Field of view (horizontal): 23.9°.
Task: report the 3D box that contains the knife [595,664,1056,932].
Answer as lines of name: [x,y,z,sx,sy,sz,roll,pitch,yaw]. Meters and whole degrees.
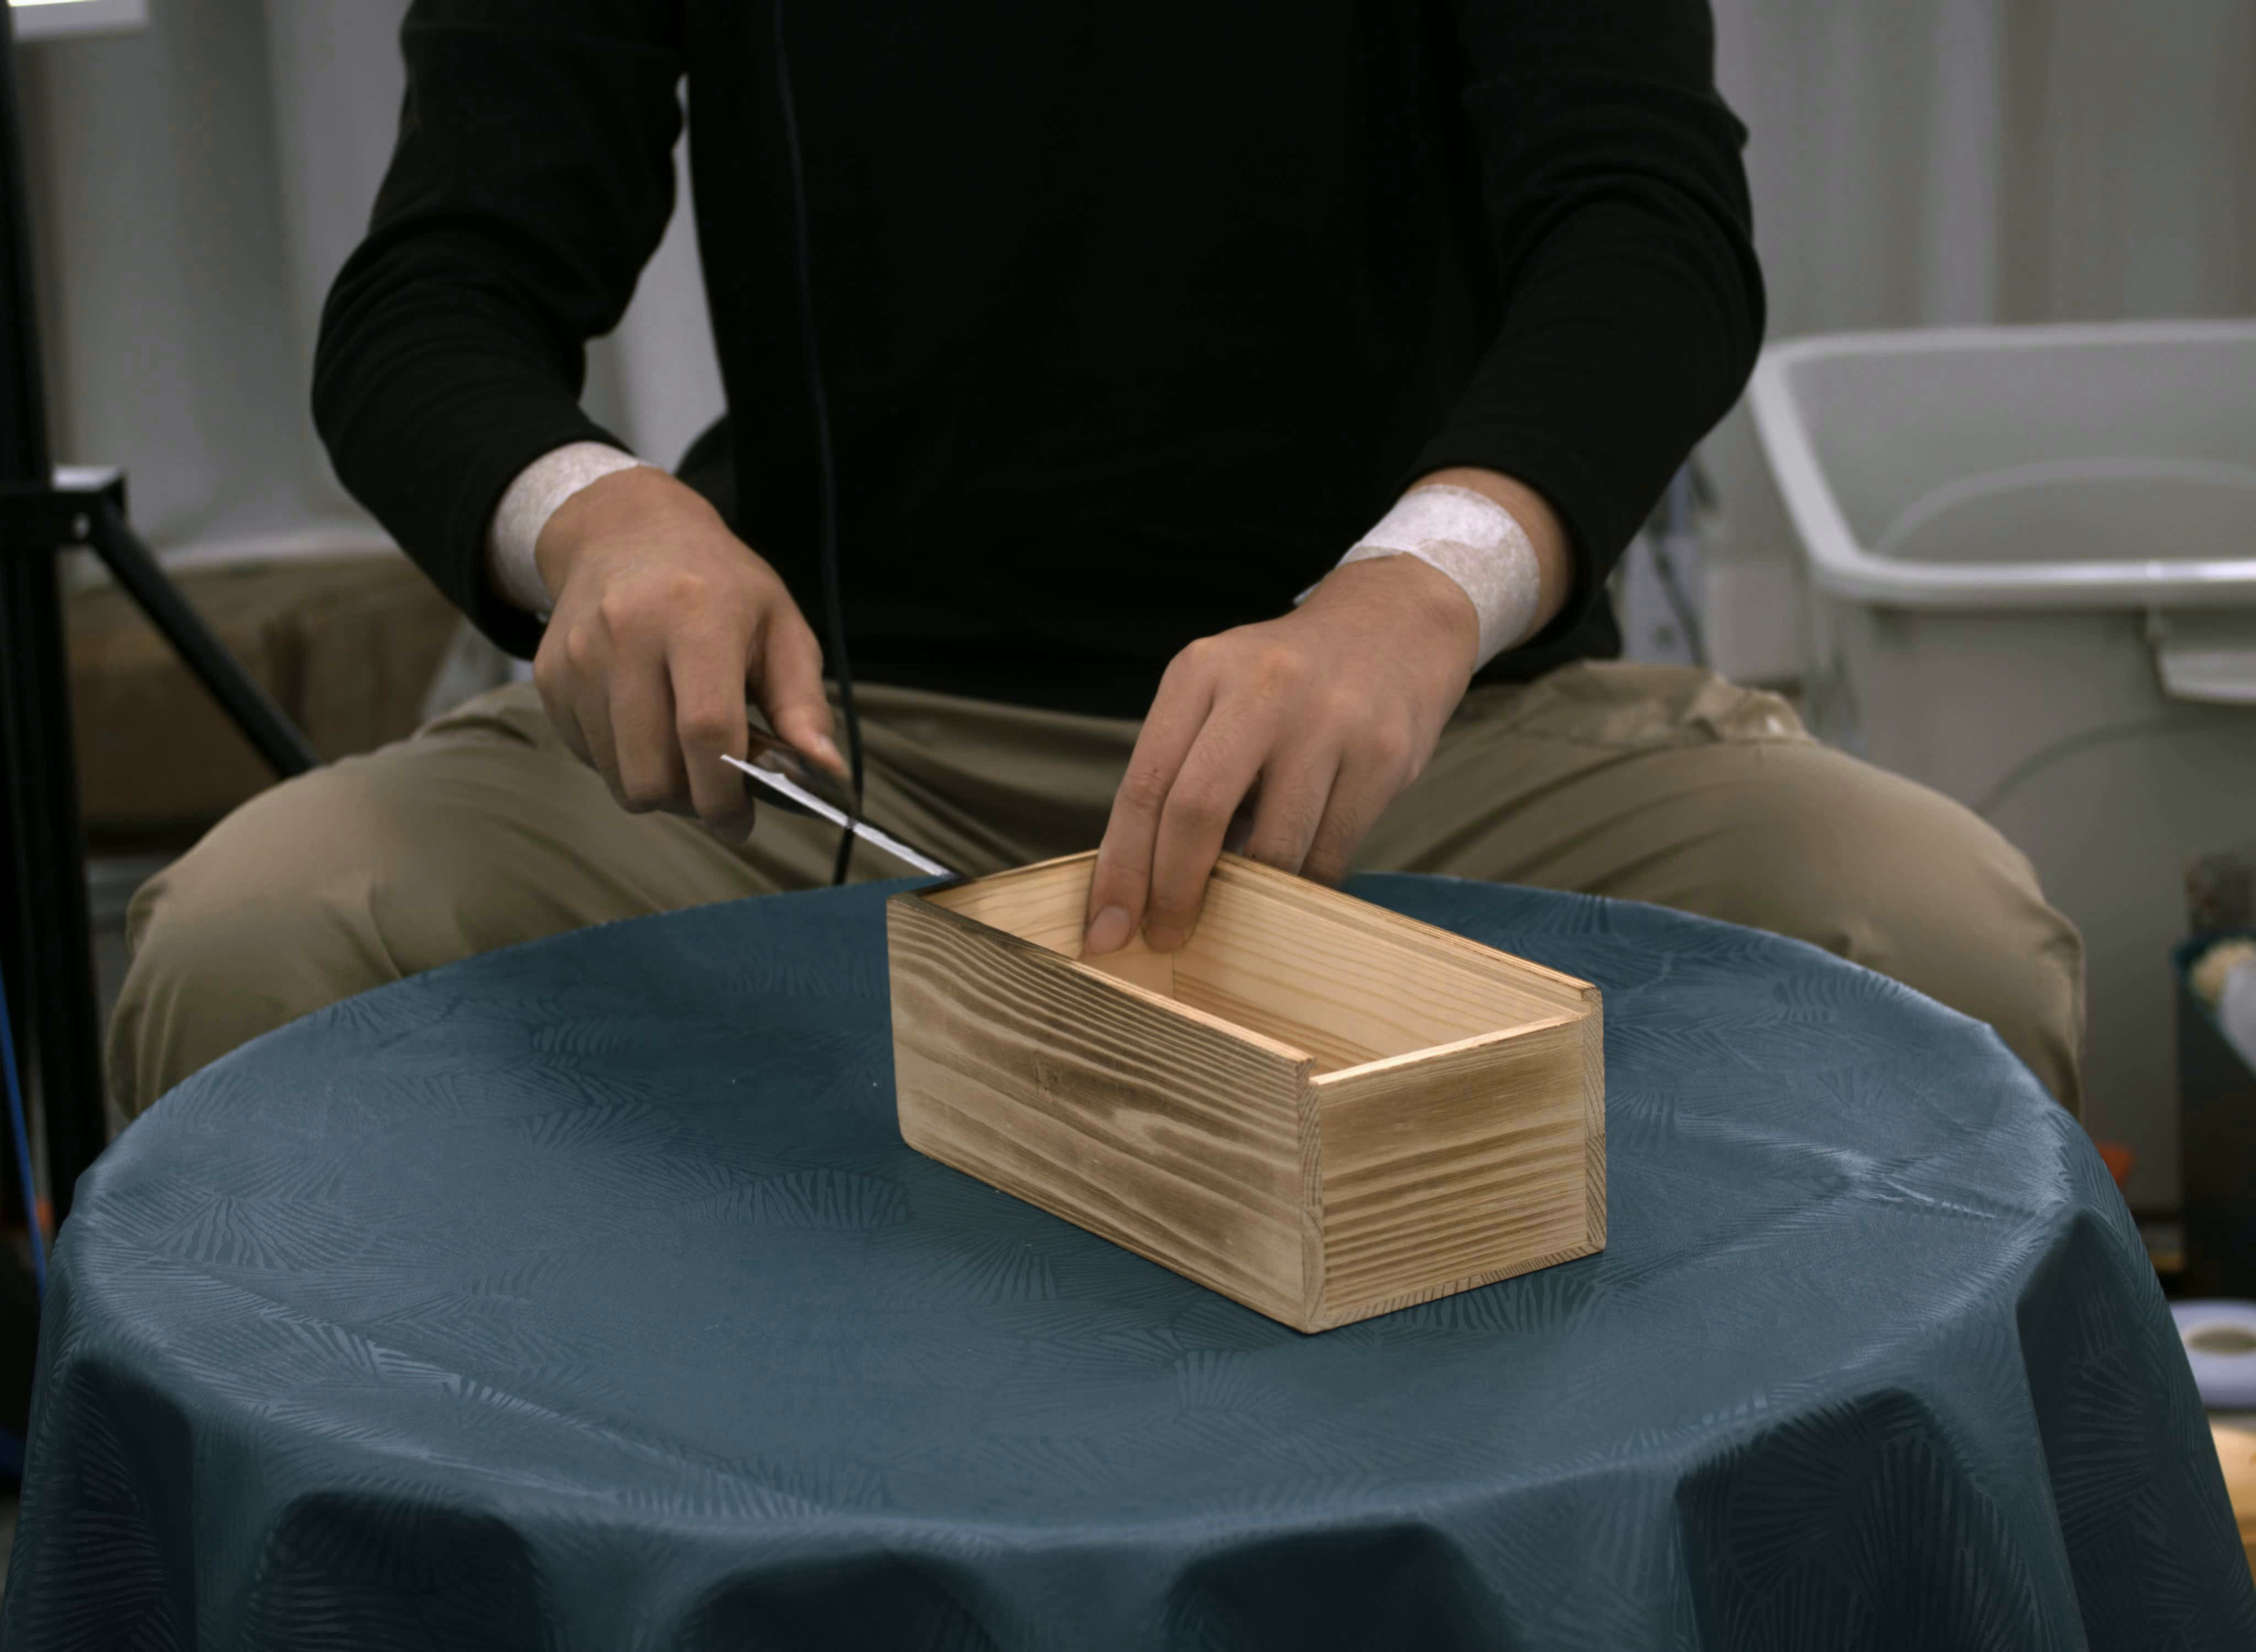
knife: [-0.096,-0.007,1.643,0.049,0.020,0.295,22,3,-33]

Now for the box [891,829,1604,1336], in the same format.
box: [0.031,0.070,1.540,0.105,0.080,0.216,-11,18,-32]
